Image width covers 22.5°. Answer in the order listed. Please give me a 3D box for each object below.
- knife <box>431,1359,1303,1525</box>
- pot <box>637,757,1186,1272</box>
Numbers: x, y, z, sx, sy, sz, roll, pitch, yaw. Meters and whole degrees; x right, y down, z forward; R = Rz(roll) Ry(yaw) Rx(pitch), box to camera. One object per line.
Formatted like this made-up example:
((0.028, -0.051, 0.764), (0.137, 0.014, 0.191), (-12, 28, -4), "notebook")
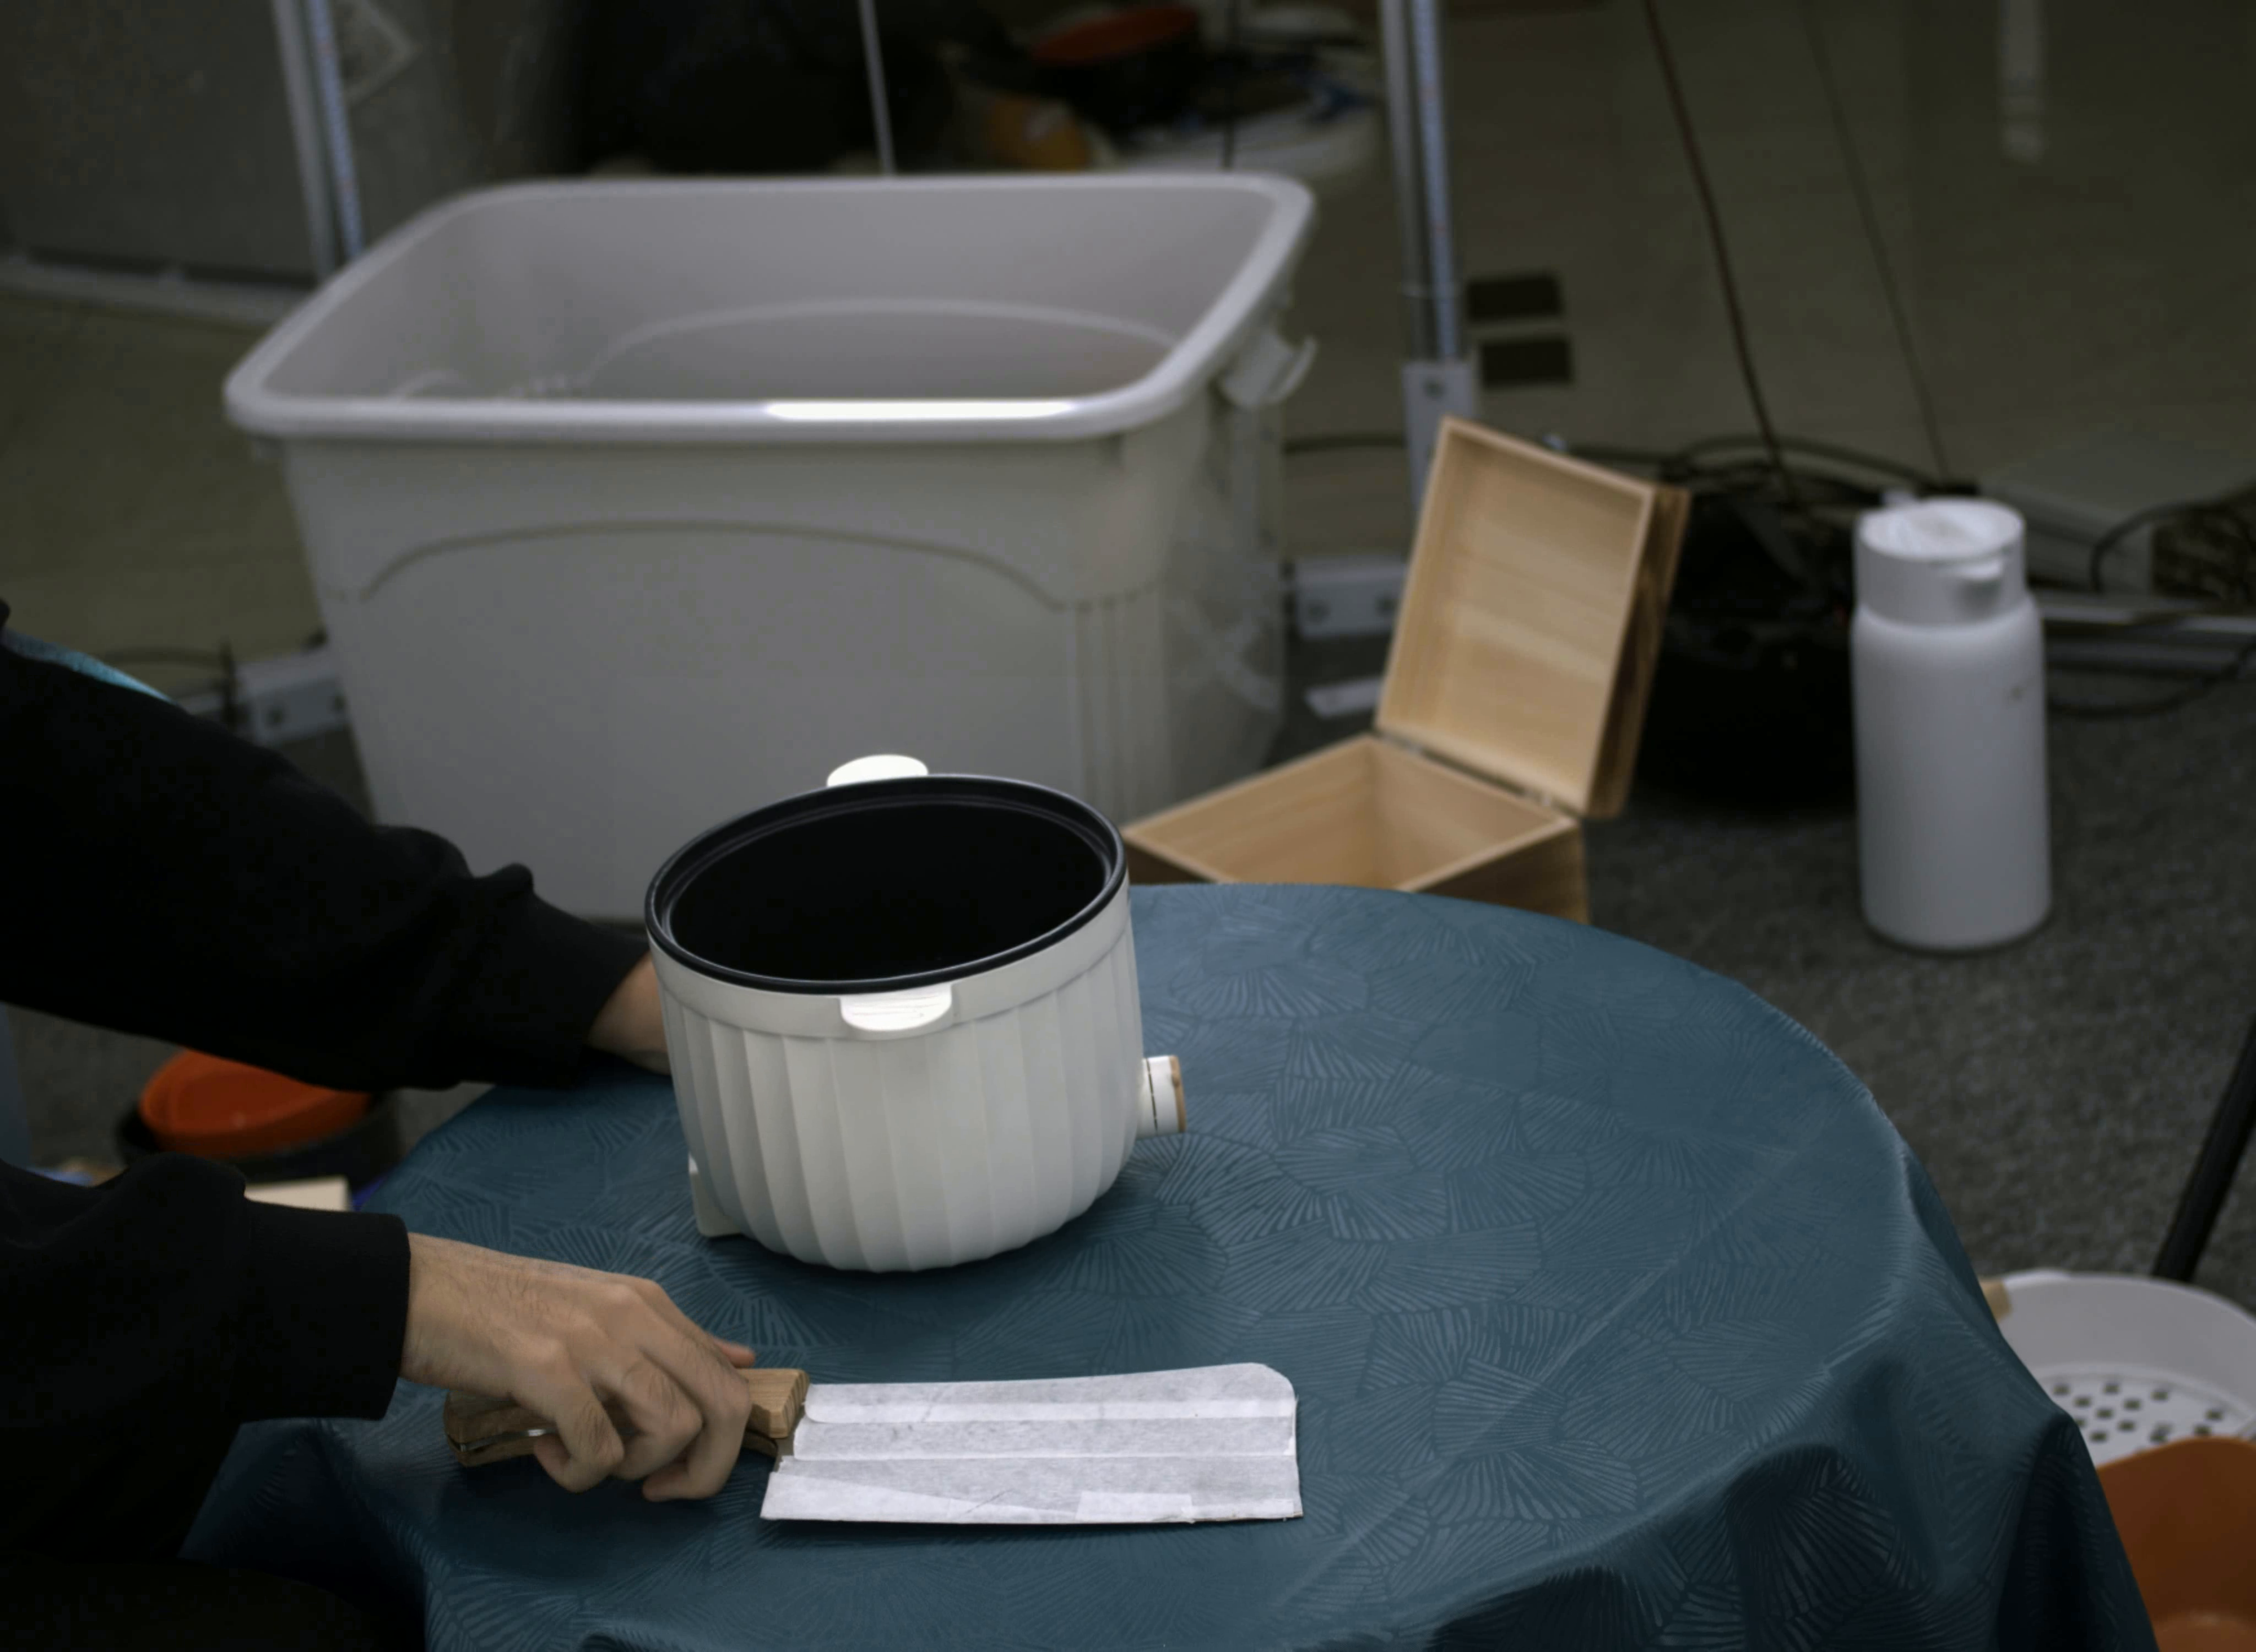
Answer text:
((-0.091, 0.214, 1.988), (0.315, 0.022, 0.112), (0, 26, 8), "knife")
((-0.079, 0.077, 2.132), (0.190, 0.145, 0.237), (-10, 26, 0), "pot")
